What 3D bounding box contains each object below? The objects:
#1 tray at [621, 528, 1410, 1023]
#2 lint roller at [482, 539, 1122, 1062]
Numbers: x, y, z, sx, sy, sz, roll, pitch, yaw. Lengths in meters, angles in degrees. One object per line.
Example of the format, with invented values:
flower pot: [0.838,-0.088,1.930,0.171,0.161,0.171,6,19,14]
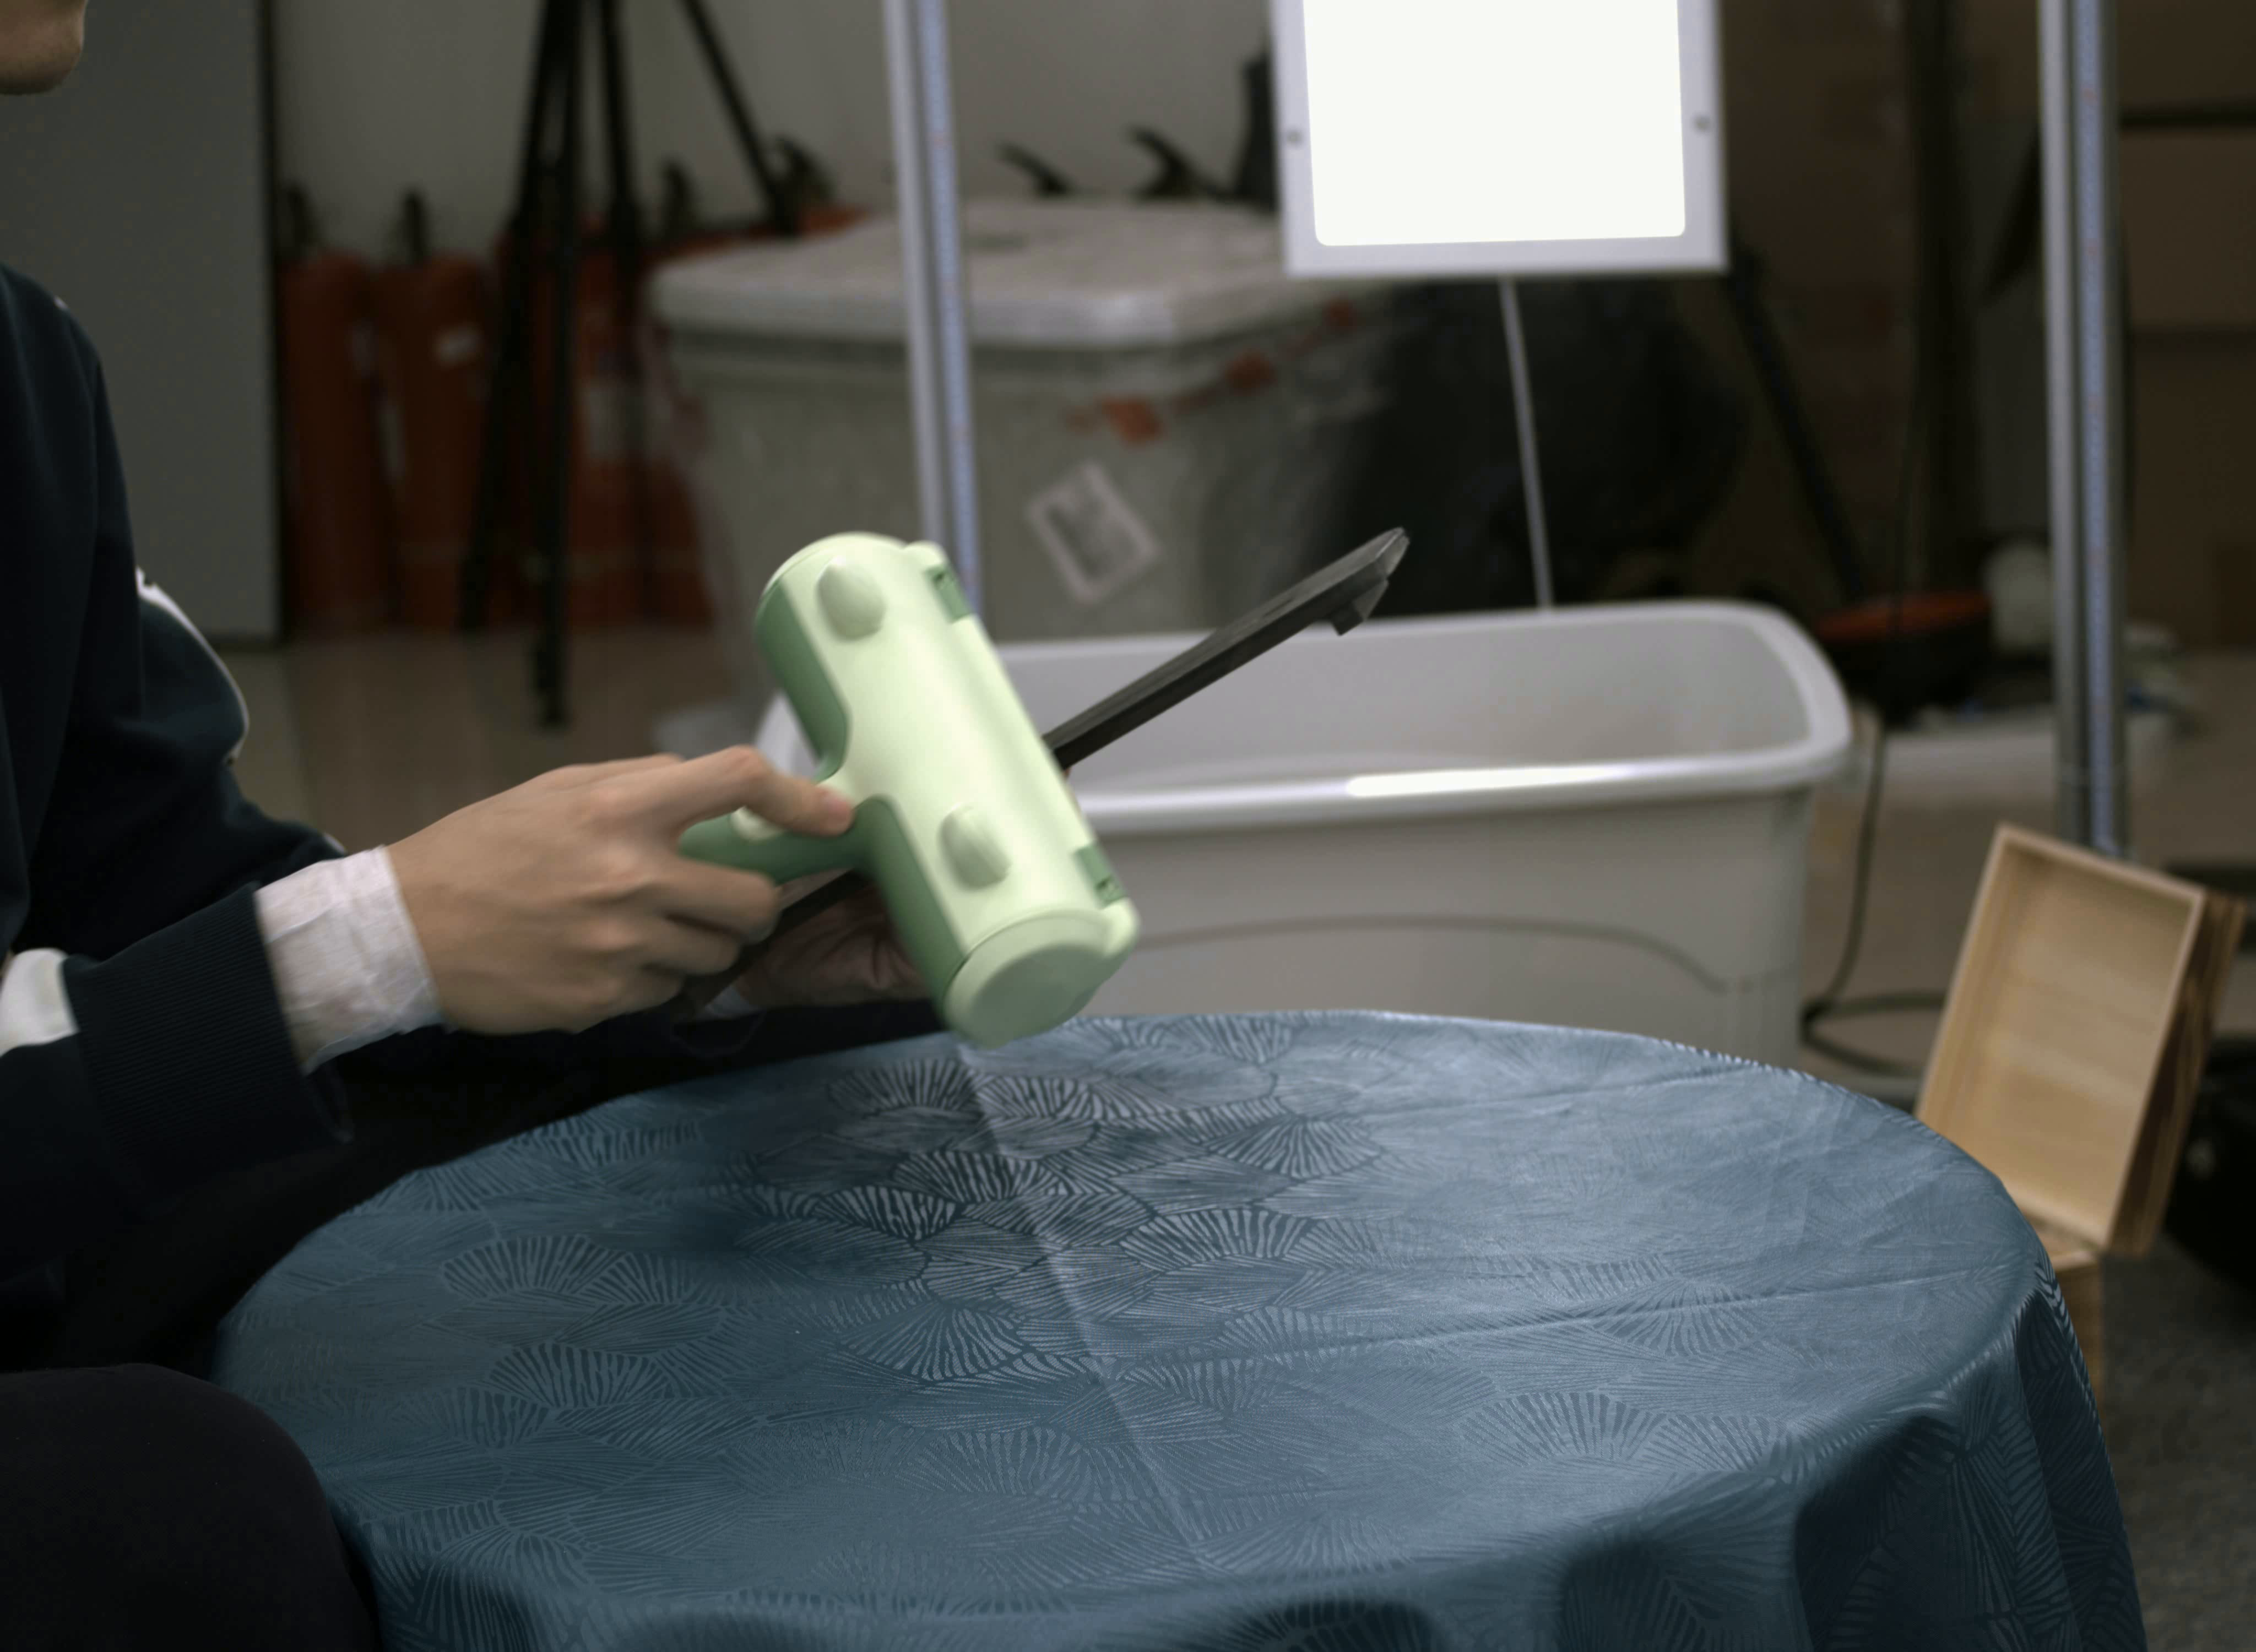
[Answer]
tray: [-0.034,-0.016,1.934,0.308,0.018,0.169,-31,3,10]
lint roller: [-0.119,-0.004,1.763,0.180,0.083,0.200,-14,50,-15]
